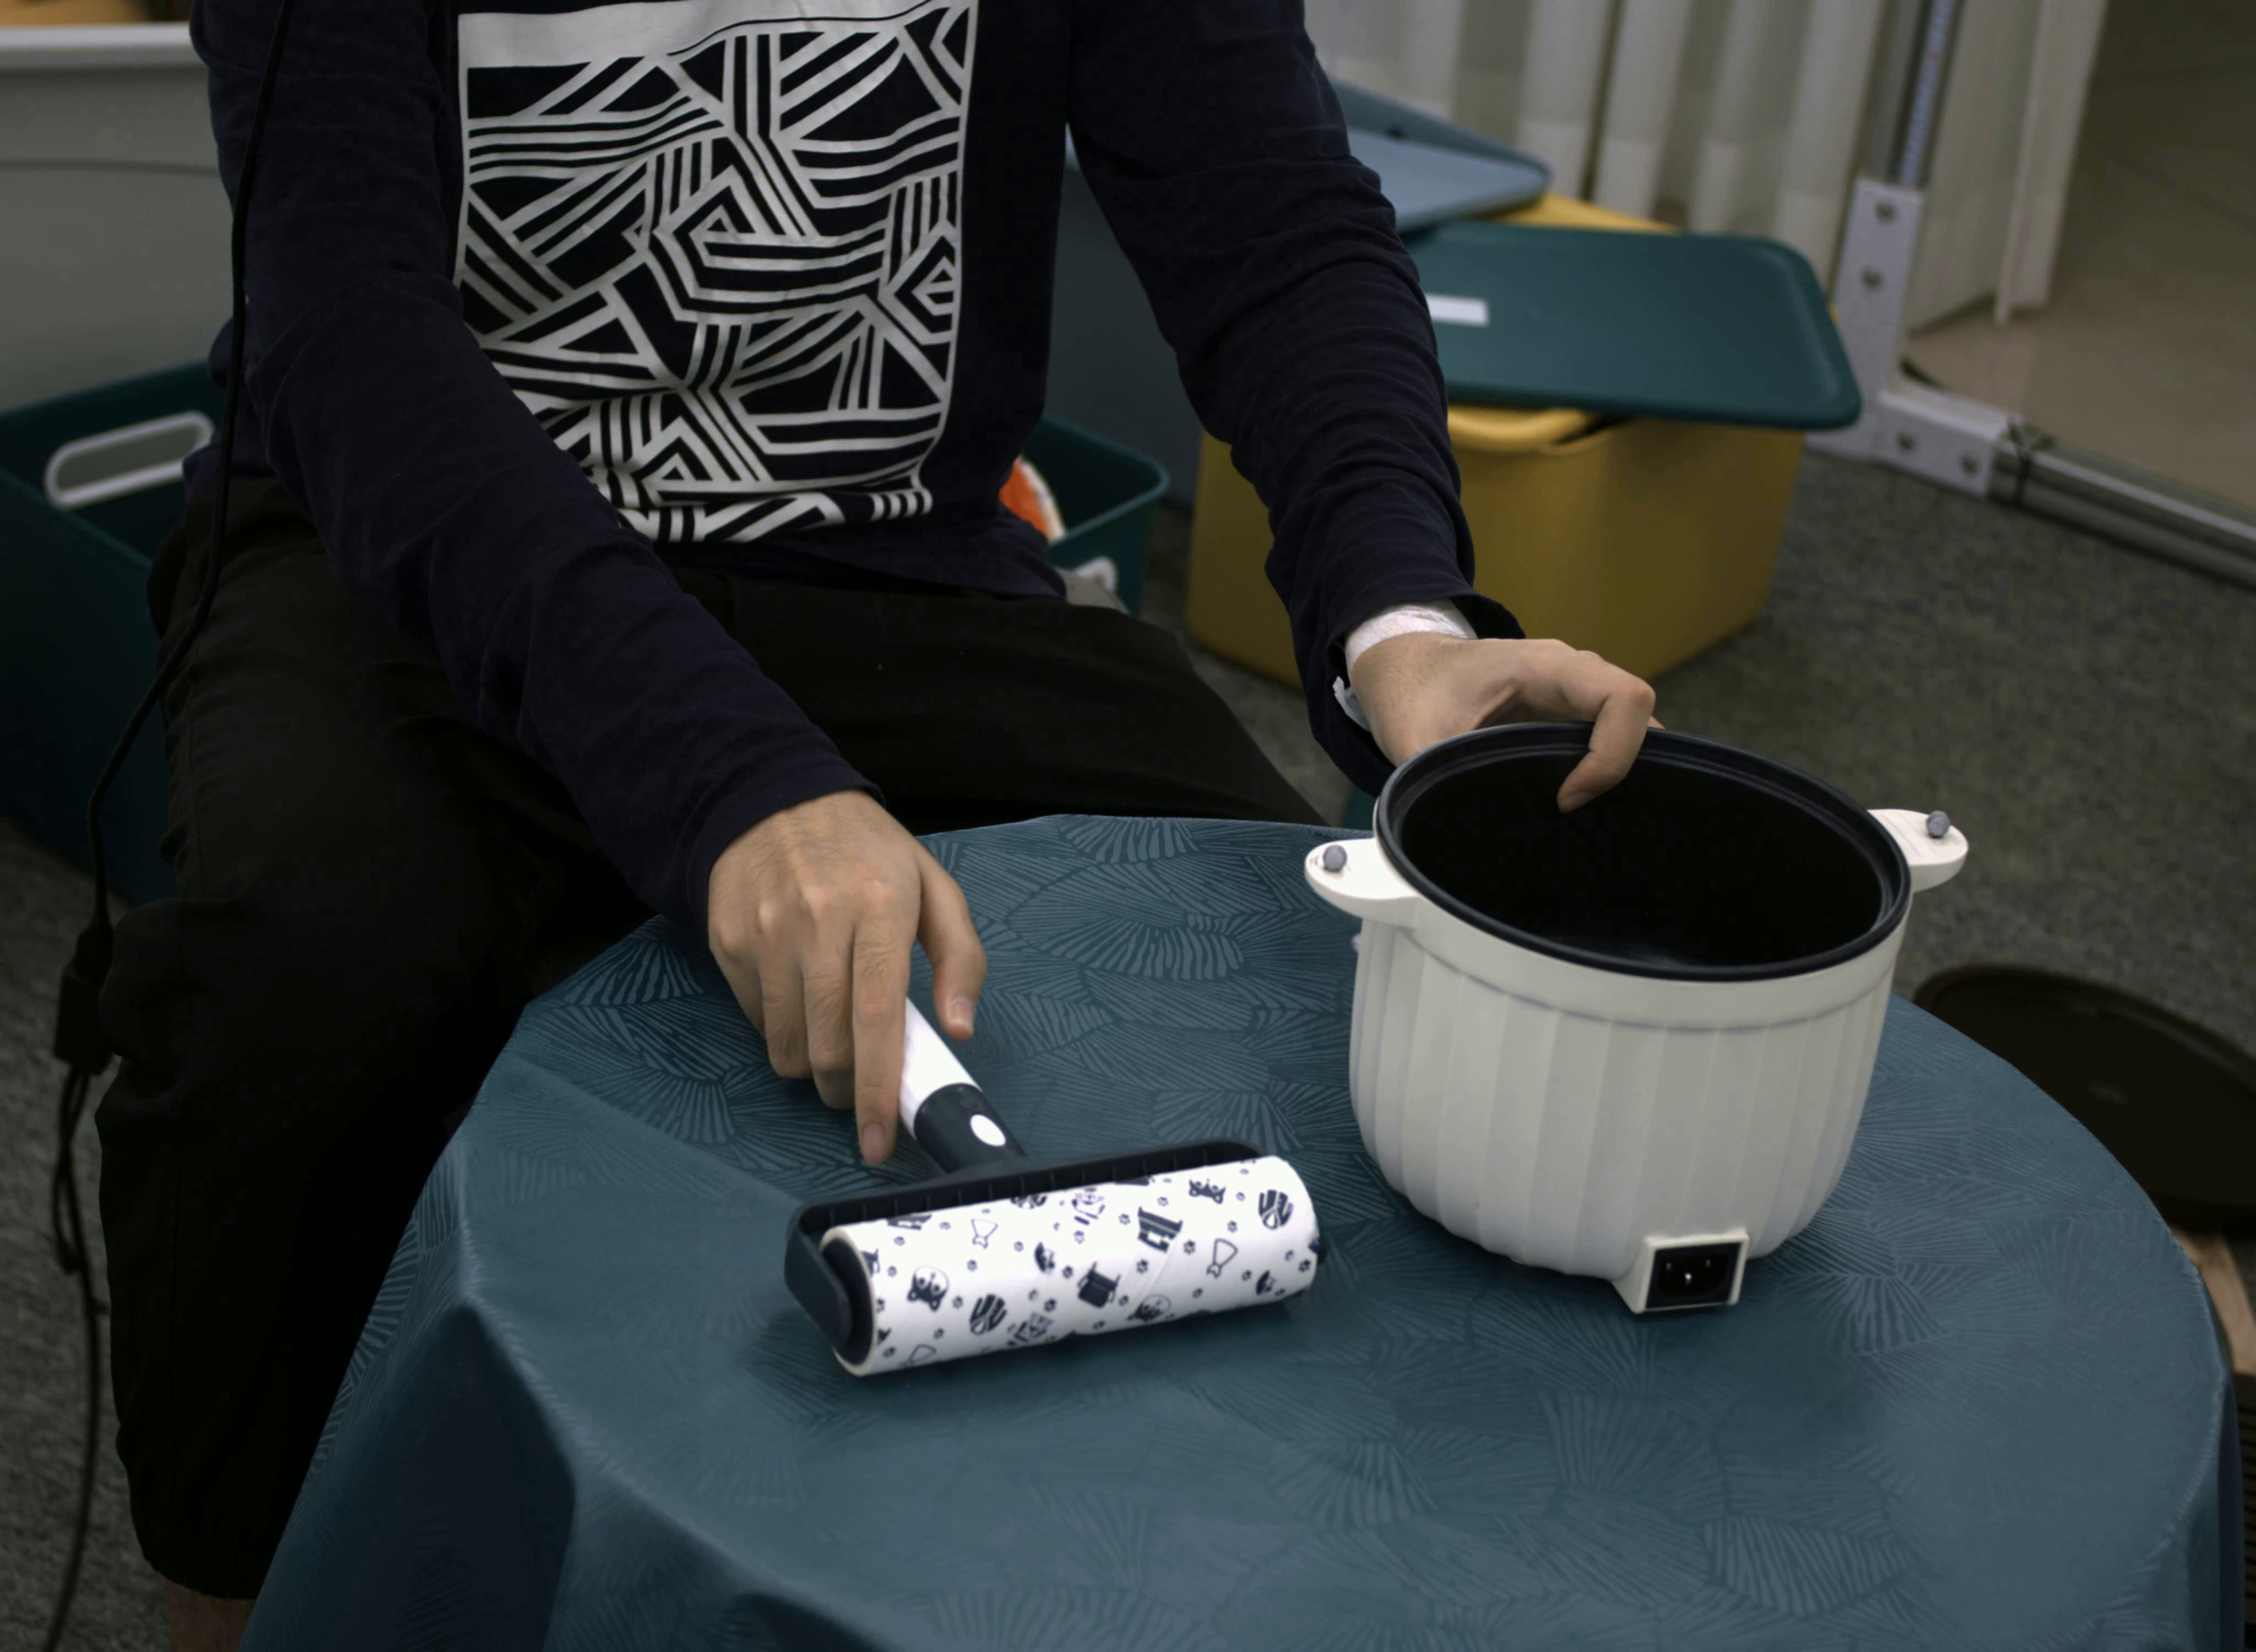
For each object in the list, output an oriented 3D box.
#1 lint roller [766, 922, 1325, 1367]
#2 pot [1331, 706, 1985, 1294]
[{"bbox_3d":[-0.066,0.091,1.792,0.175,0.050,0.249,-9,32,-26],"label":"lint roller"},{"bbox_3d":[0.167,0.056,1.816,0.239,0.142,0.192,2,29,-21],"label":"pot"}]
